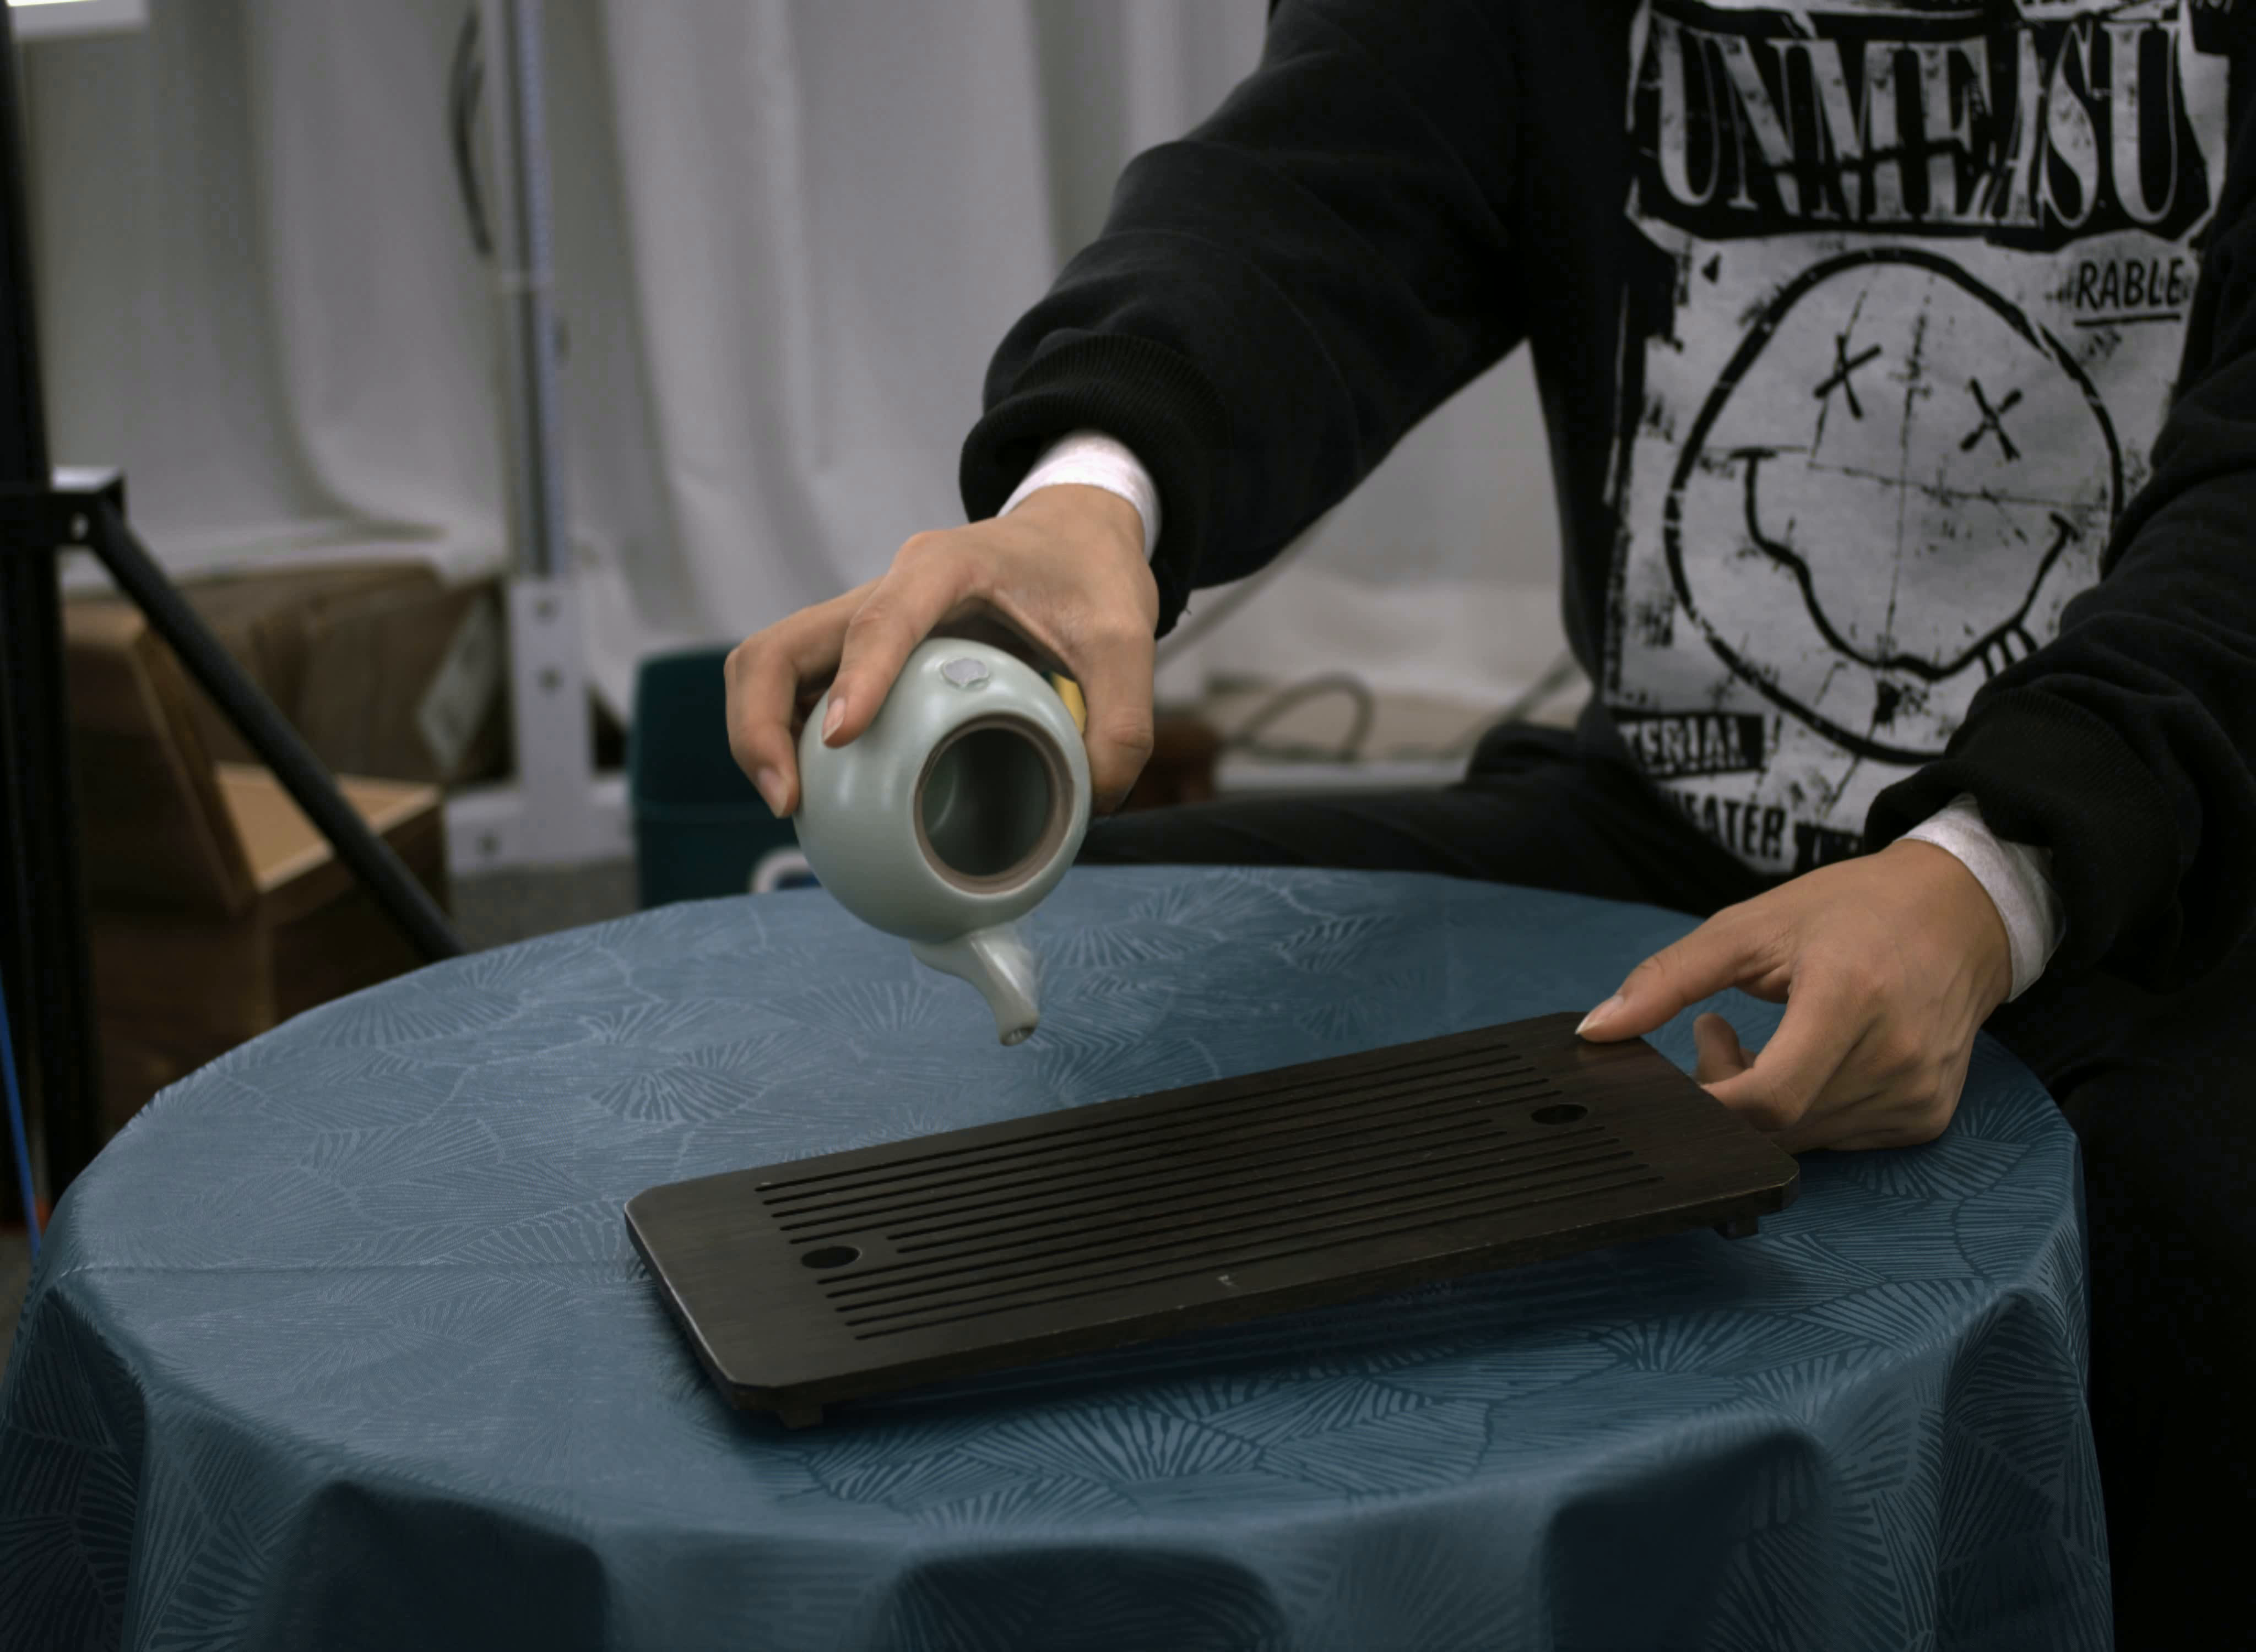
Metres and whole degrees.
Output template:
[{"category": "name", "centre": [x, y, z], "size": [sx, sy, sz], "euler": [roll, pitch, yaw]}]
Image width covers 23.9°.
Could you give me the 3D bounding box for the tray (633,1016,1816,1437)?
[{"category": "tray", "centre": [0.024, 0.110, 1.480], "size": [0.302, 0.018, 0.172], "euler": [-10, 17, -12]}]

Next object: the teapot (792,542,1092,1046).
[{"category": "teapot", "centre": [-0.053, -0.012, 1.531], "size": [0.086, 0.144, 0.076], "euler": [-10, 16, -31]}]
